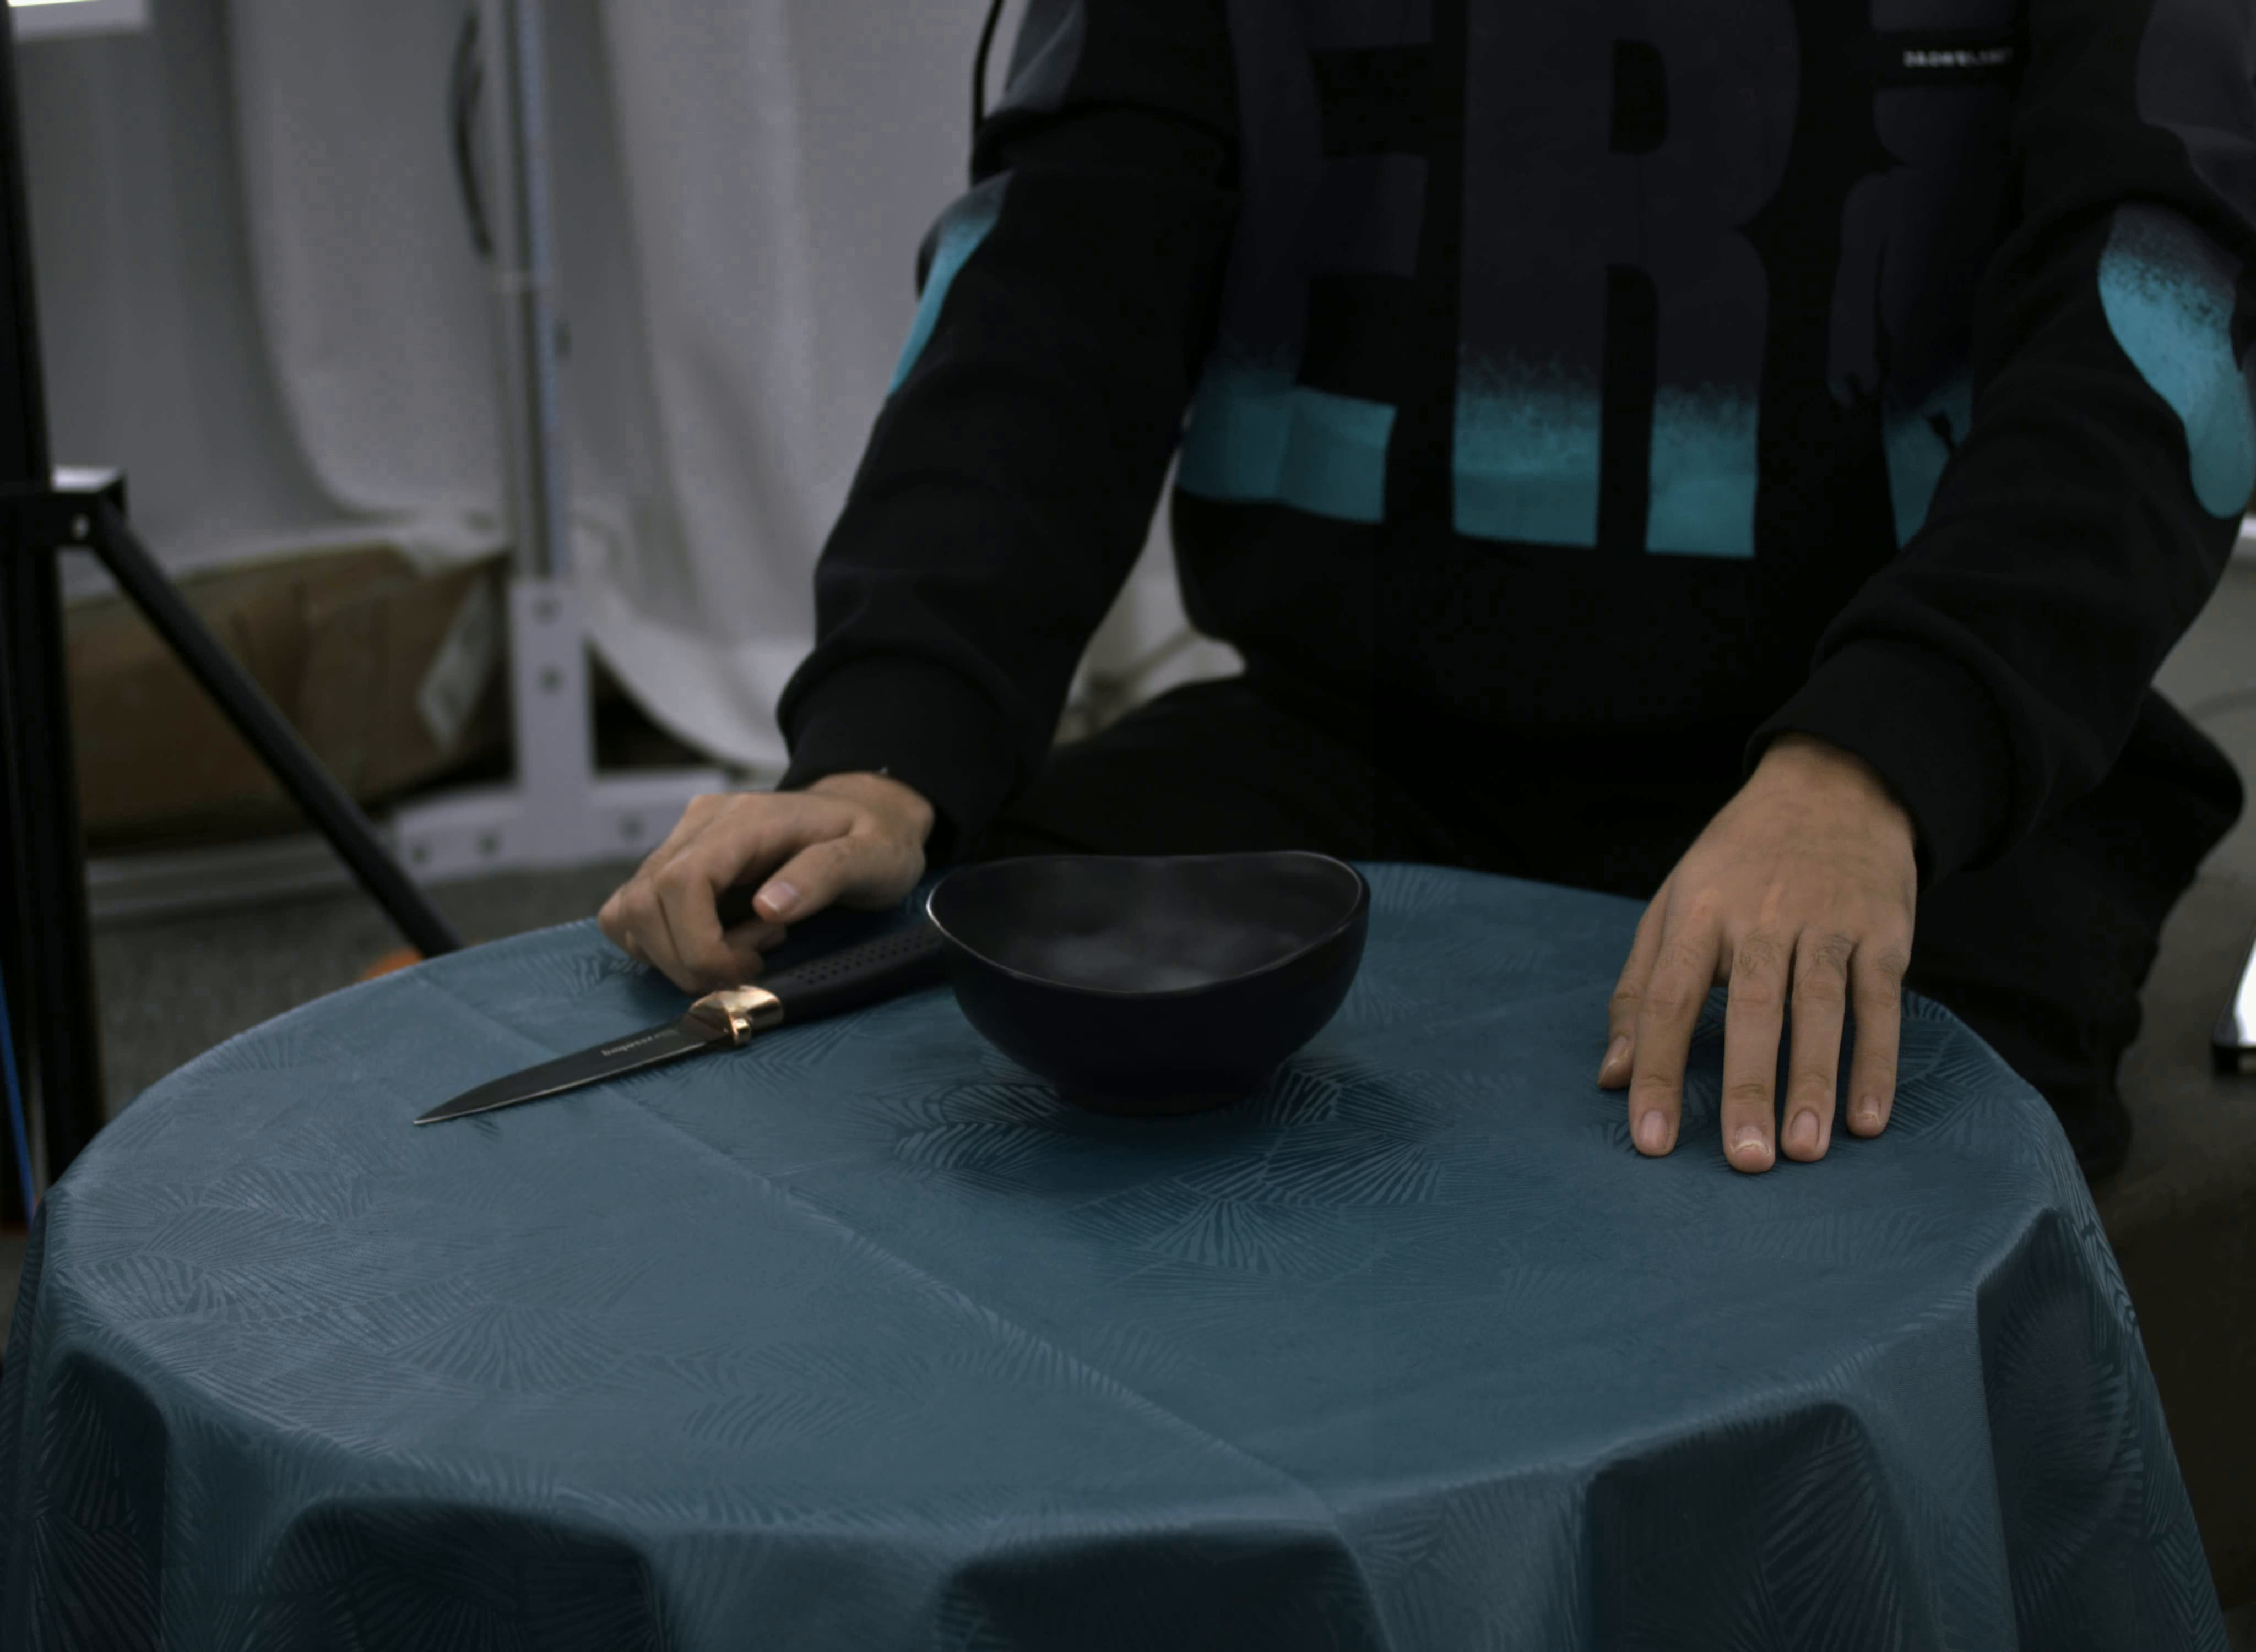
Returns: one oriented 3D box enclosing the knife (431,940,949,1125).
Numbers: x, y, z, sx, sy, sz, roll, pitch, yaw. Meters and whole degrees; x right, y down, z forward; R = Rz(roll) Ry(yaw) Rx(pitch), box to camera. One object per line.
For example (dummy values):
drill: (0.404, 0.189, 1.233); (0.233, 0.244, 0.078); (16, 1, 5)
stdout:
knife: (-0.133, 0.066, 1.708); (0.220, 0.017, 0.027); (-16, 16, -37)

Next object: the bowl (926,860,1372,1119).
bowl: (0.008, 0.051, 1.641); (0.137, 0.067, 0.170); (-1, 14, 4)
